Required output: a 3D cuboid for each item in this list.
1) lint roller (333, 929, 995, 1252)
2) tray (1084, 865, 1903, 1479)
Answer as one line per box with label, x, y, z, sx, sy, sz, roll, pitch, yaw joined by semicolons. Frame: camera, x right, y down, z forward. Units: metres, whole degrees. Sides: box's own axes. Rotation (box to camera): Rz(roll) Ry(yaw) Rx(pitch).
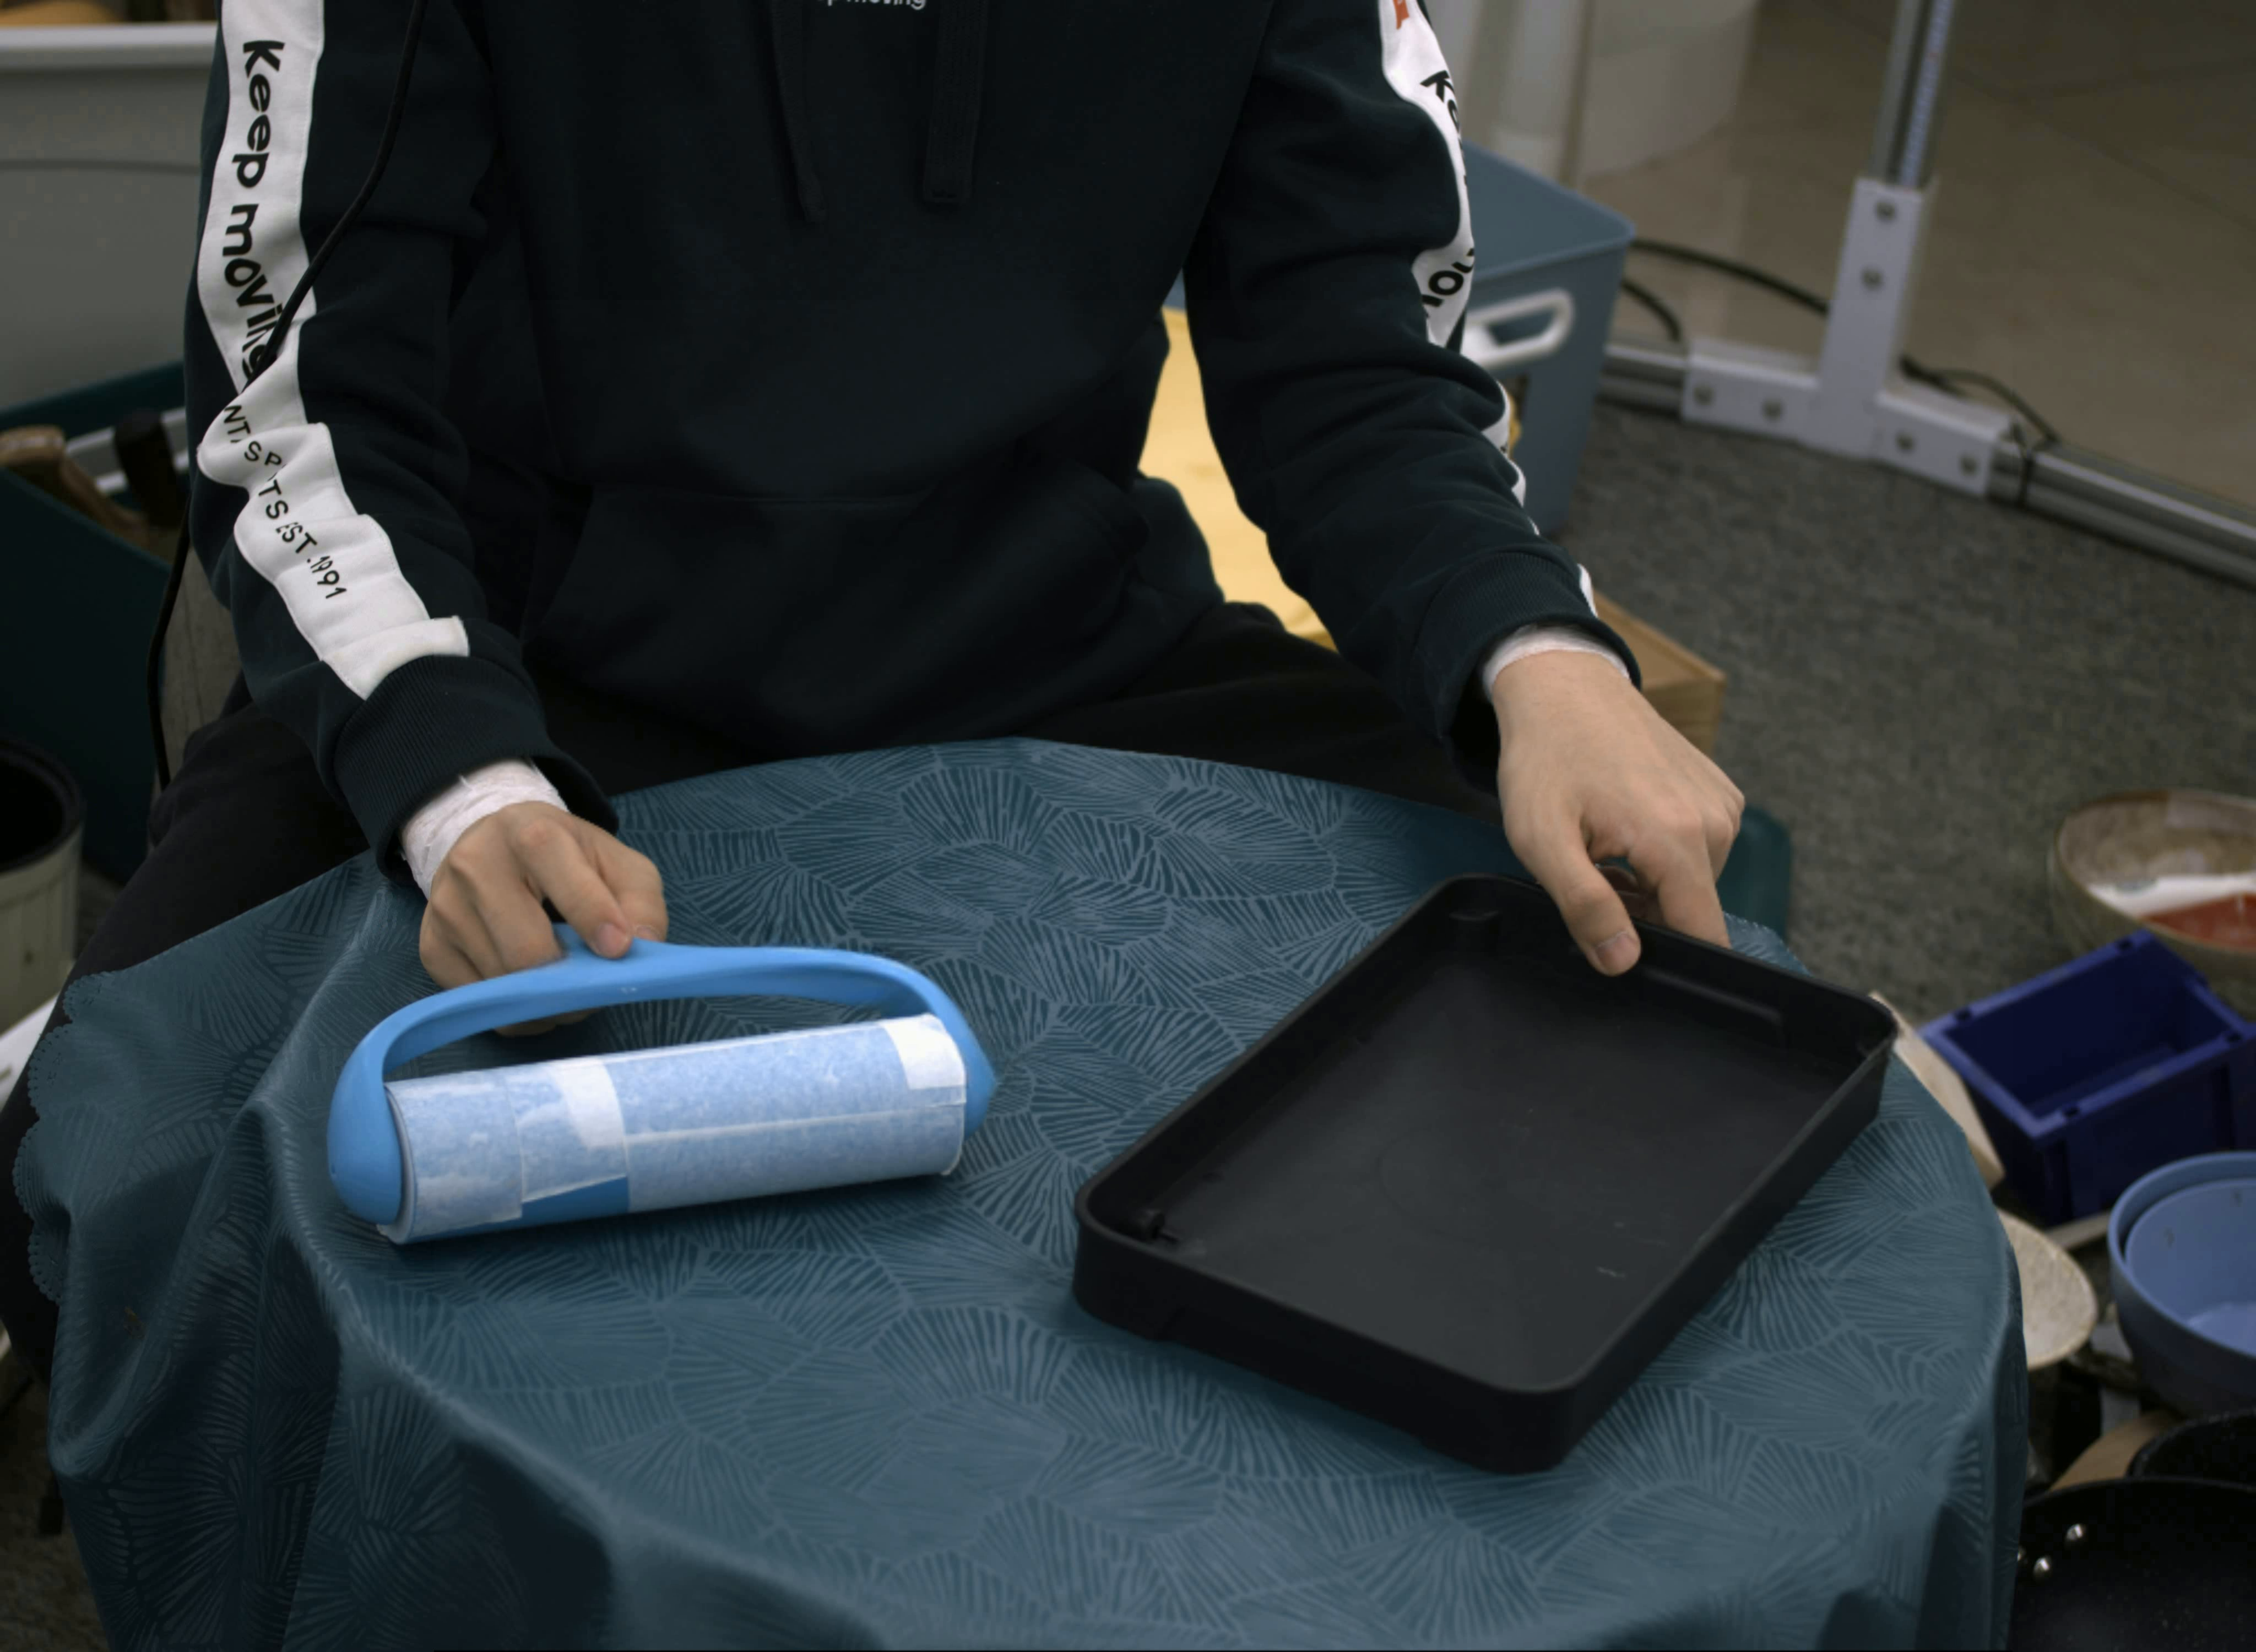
lint roller;-0.176;0.070;1.797;0.227;0.067;0.182;-9;33;-25
tray;0.129;0.110;1.817;0.185;0.037;0.317;18;30;22
